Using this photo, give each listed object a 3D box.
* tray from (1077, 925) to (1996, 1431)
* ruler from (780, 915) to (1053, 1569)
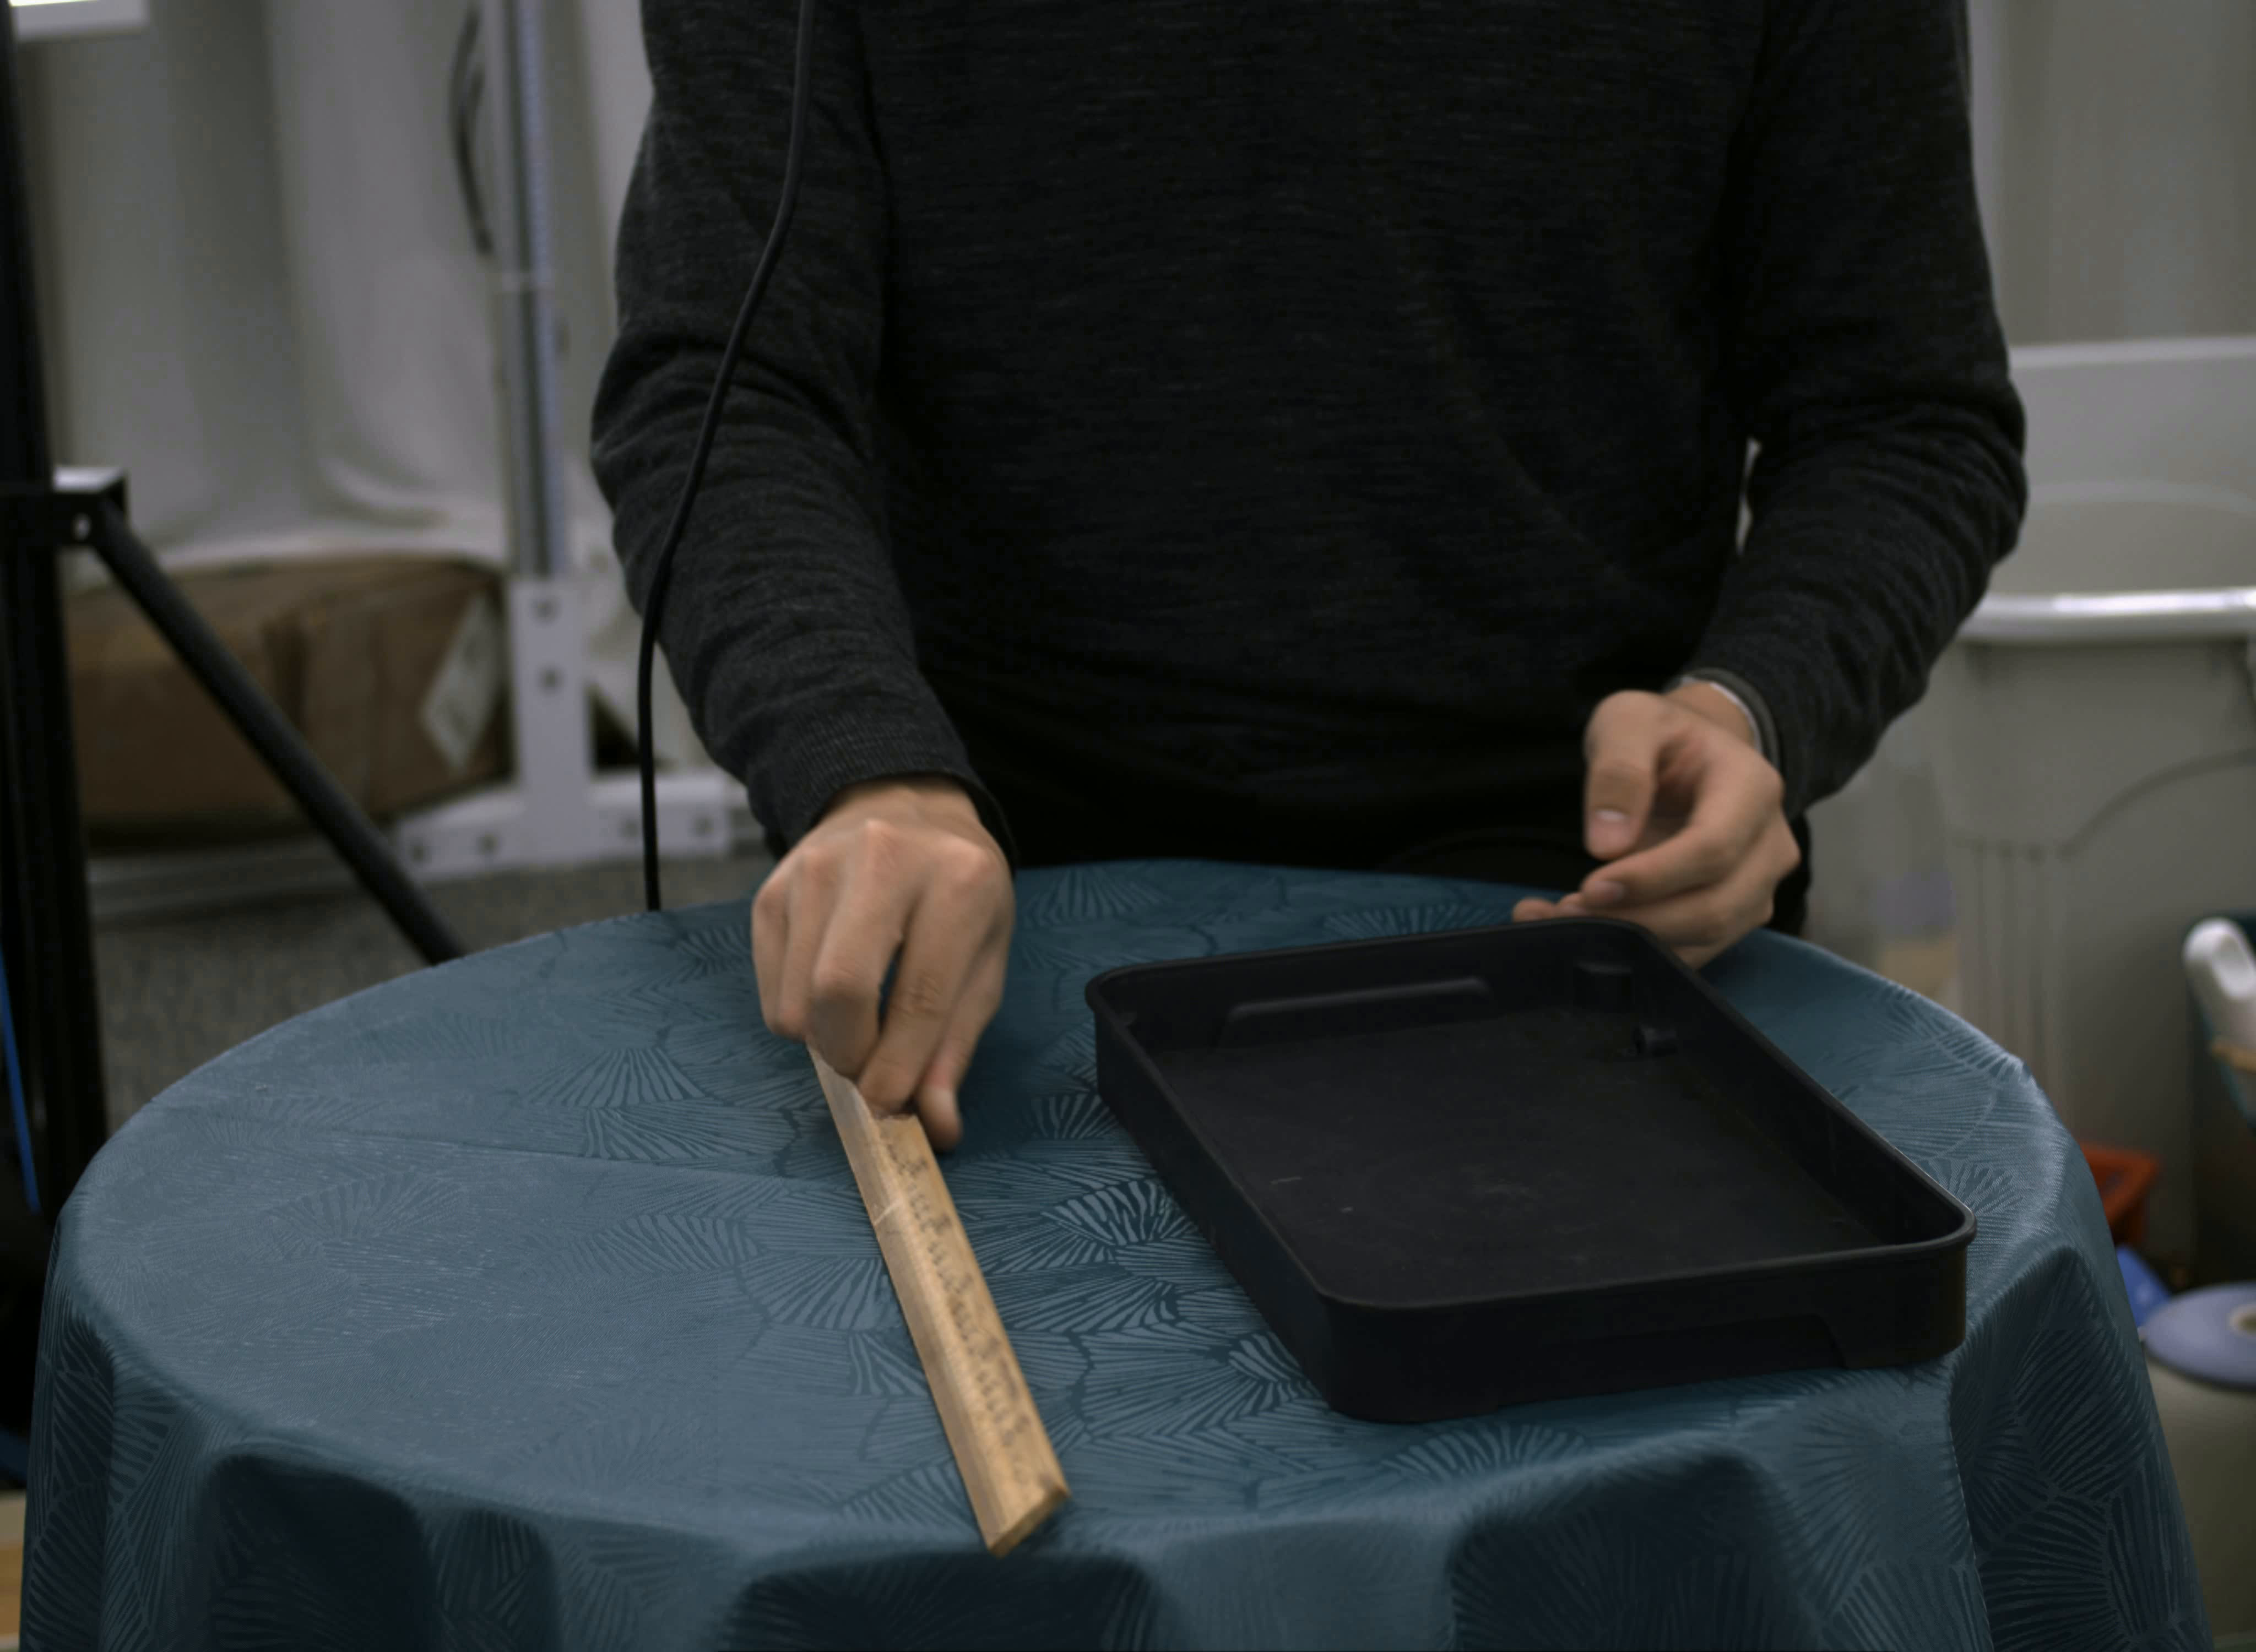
[{"bbox_3d":[0.108,0.095,1.521,0.181,0.037,0.322,-6,15,-13],"label":"tray"},{"bbox_3d":[-0.066,0.105,1.539,0.027,0.006,0.506,-48,17,5],"label":"ruler"}]
